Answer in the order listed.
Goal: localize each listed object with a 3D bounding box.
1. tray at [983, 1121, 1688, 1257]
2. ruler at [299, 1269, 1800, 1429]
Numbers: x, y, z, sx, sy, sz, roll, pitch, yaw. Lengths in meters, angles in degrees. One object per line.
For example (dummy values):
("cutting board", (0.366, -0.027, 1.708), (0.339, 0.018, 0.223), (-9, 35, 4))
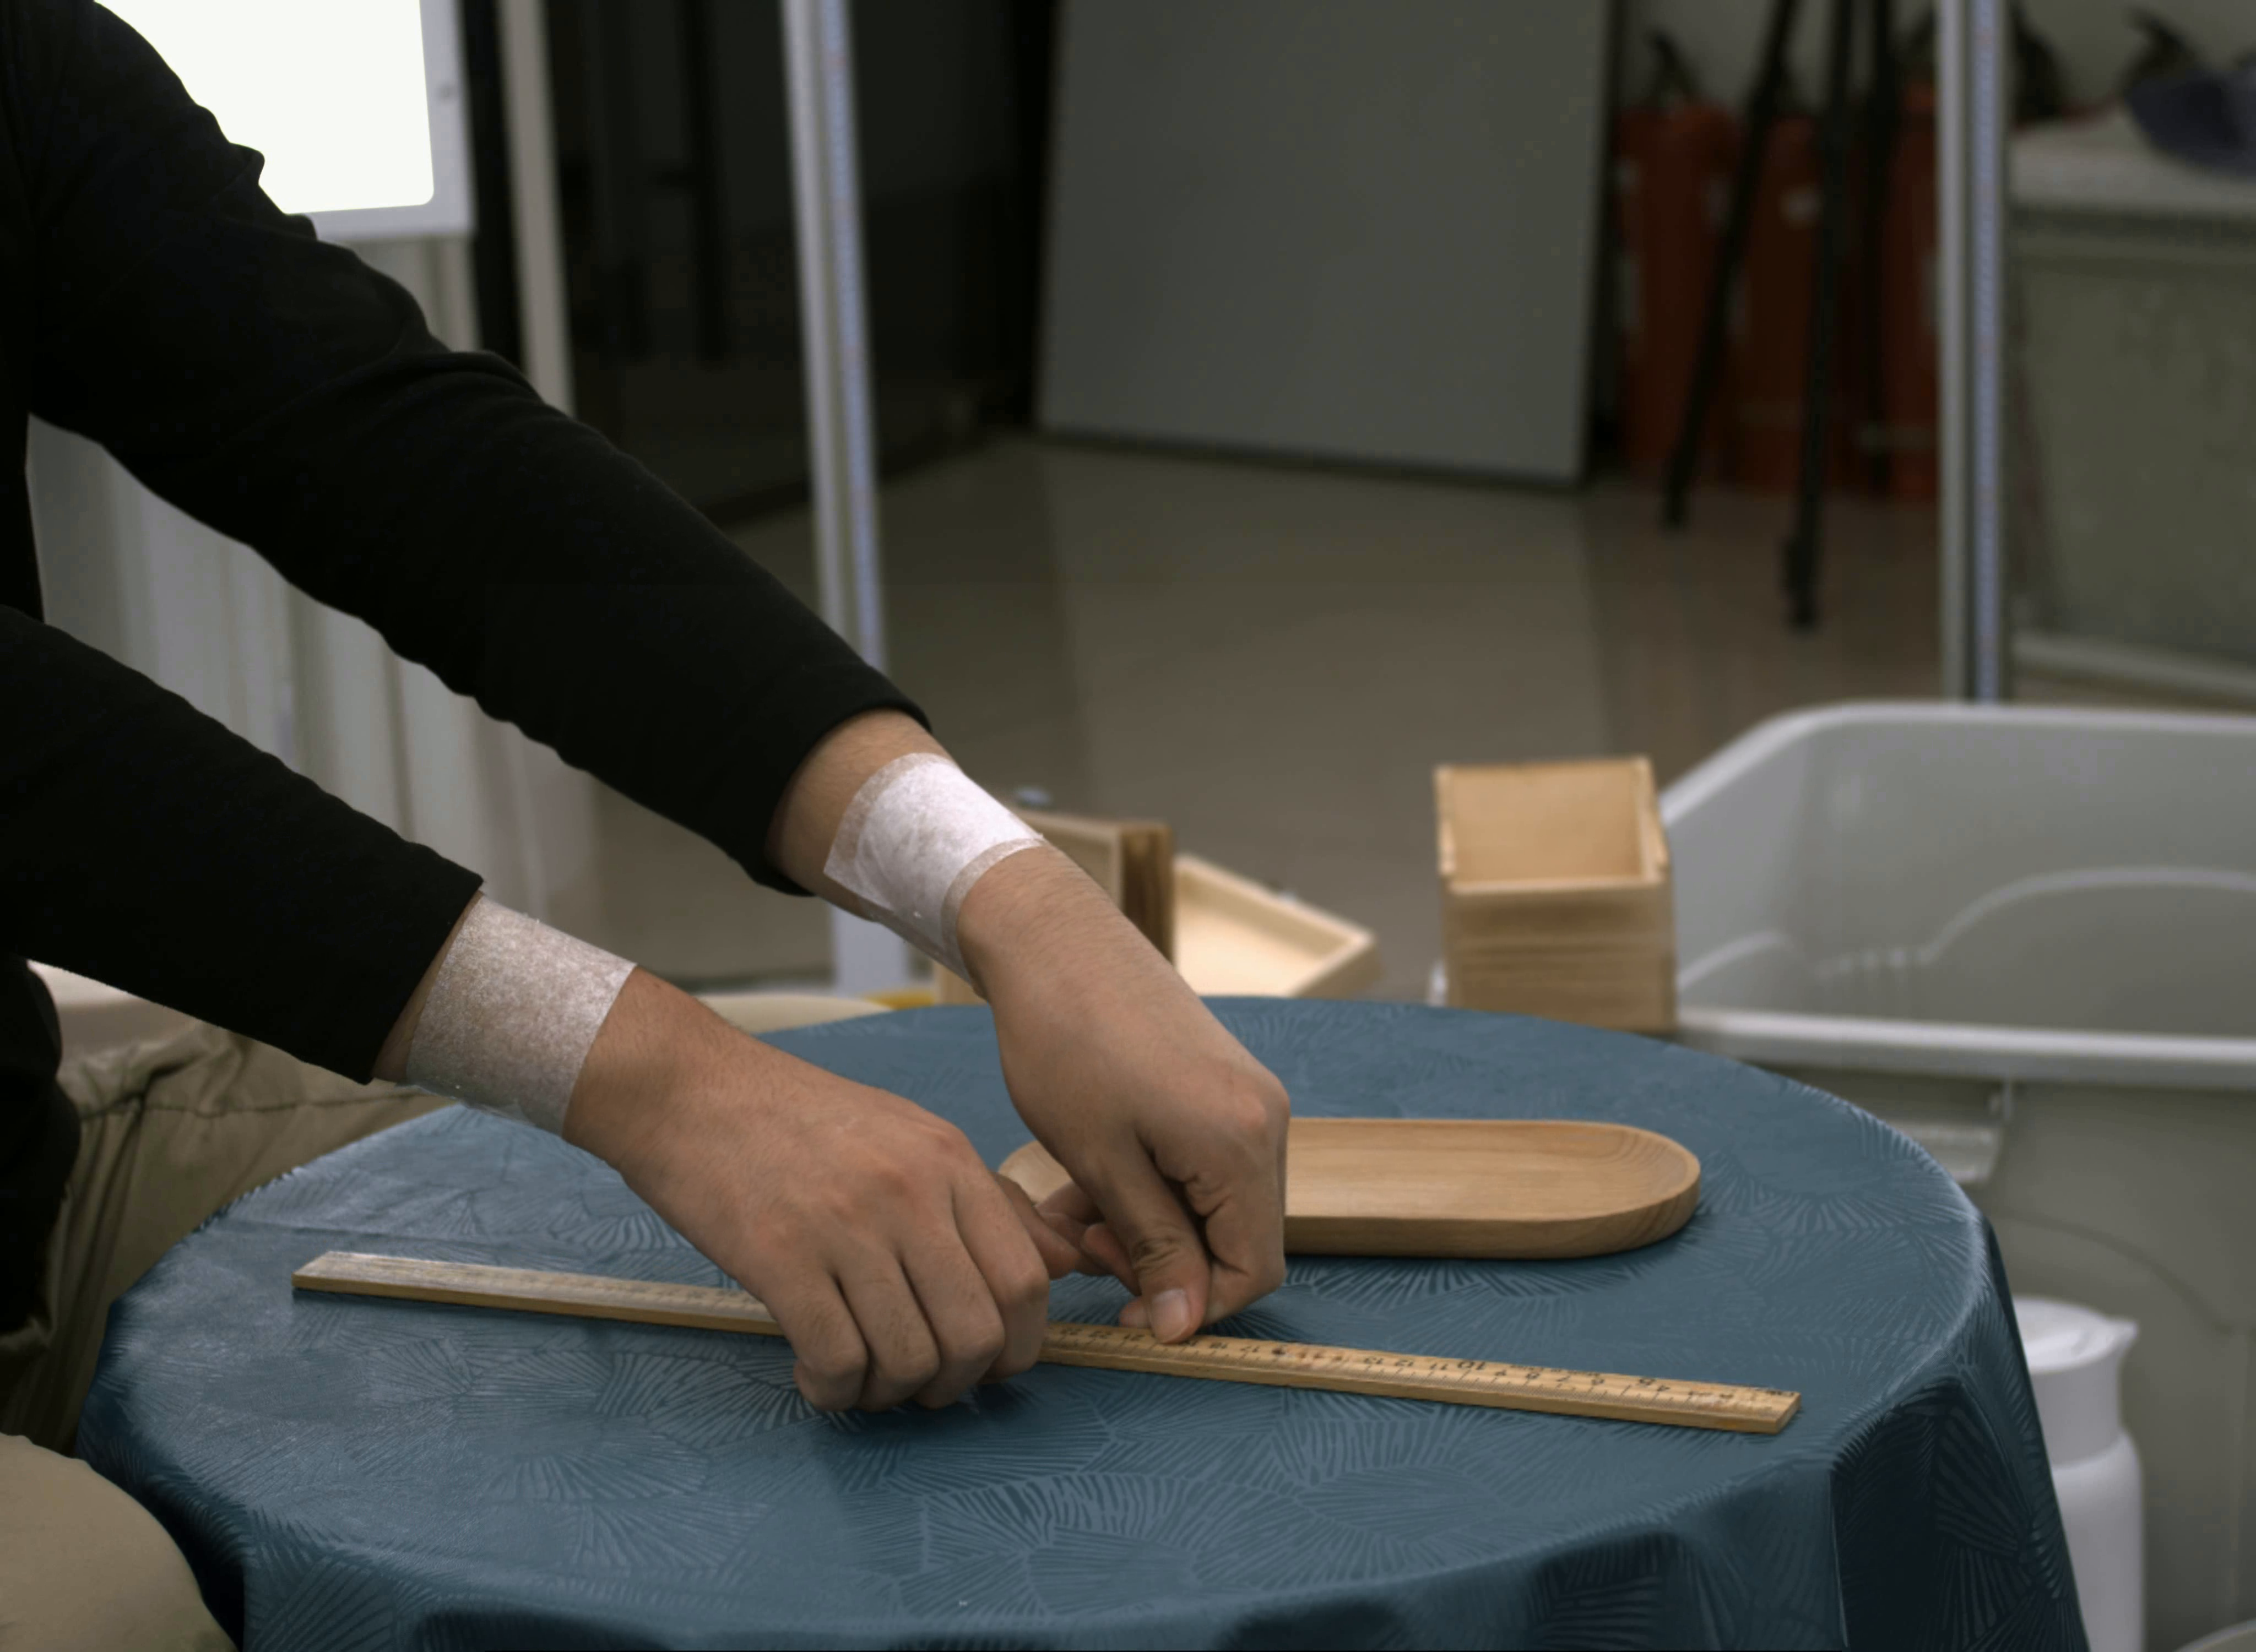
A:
("tray", (0.066, 0.117, 1.731), (0.230, 0.020, 0.101), (-3, 12, 14))
("ruler", (-0.036, 0.156, 1.631), (0.501, 0.006, 0.026), (2, 10, 27))
